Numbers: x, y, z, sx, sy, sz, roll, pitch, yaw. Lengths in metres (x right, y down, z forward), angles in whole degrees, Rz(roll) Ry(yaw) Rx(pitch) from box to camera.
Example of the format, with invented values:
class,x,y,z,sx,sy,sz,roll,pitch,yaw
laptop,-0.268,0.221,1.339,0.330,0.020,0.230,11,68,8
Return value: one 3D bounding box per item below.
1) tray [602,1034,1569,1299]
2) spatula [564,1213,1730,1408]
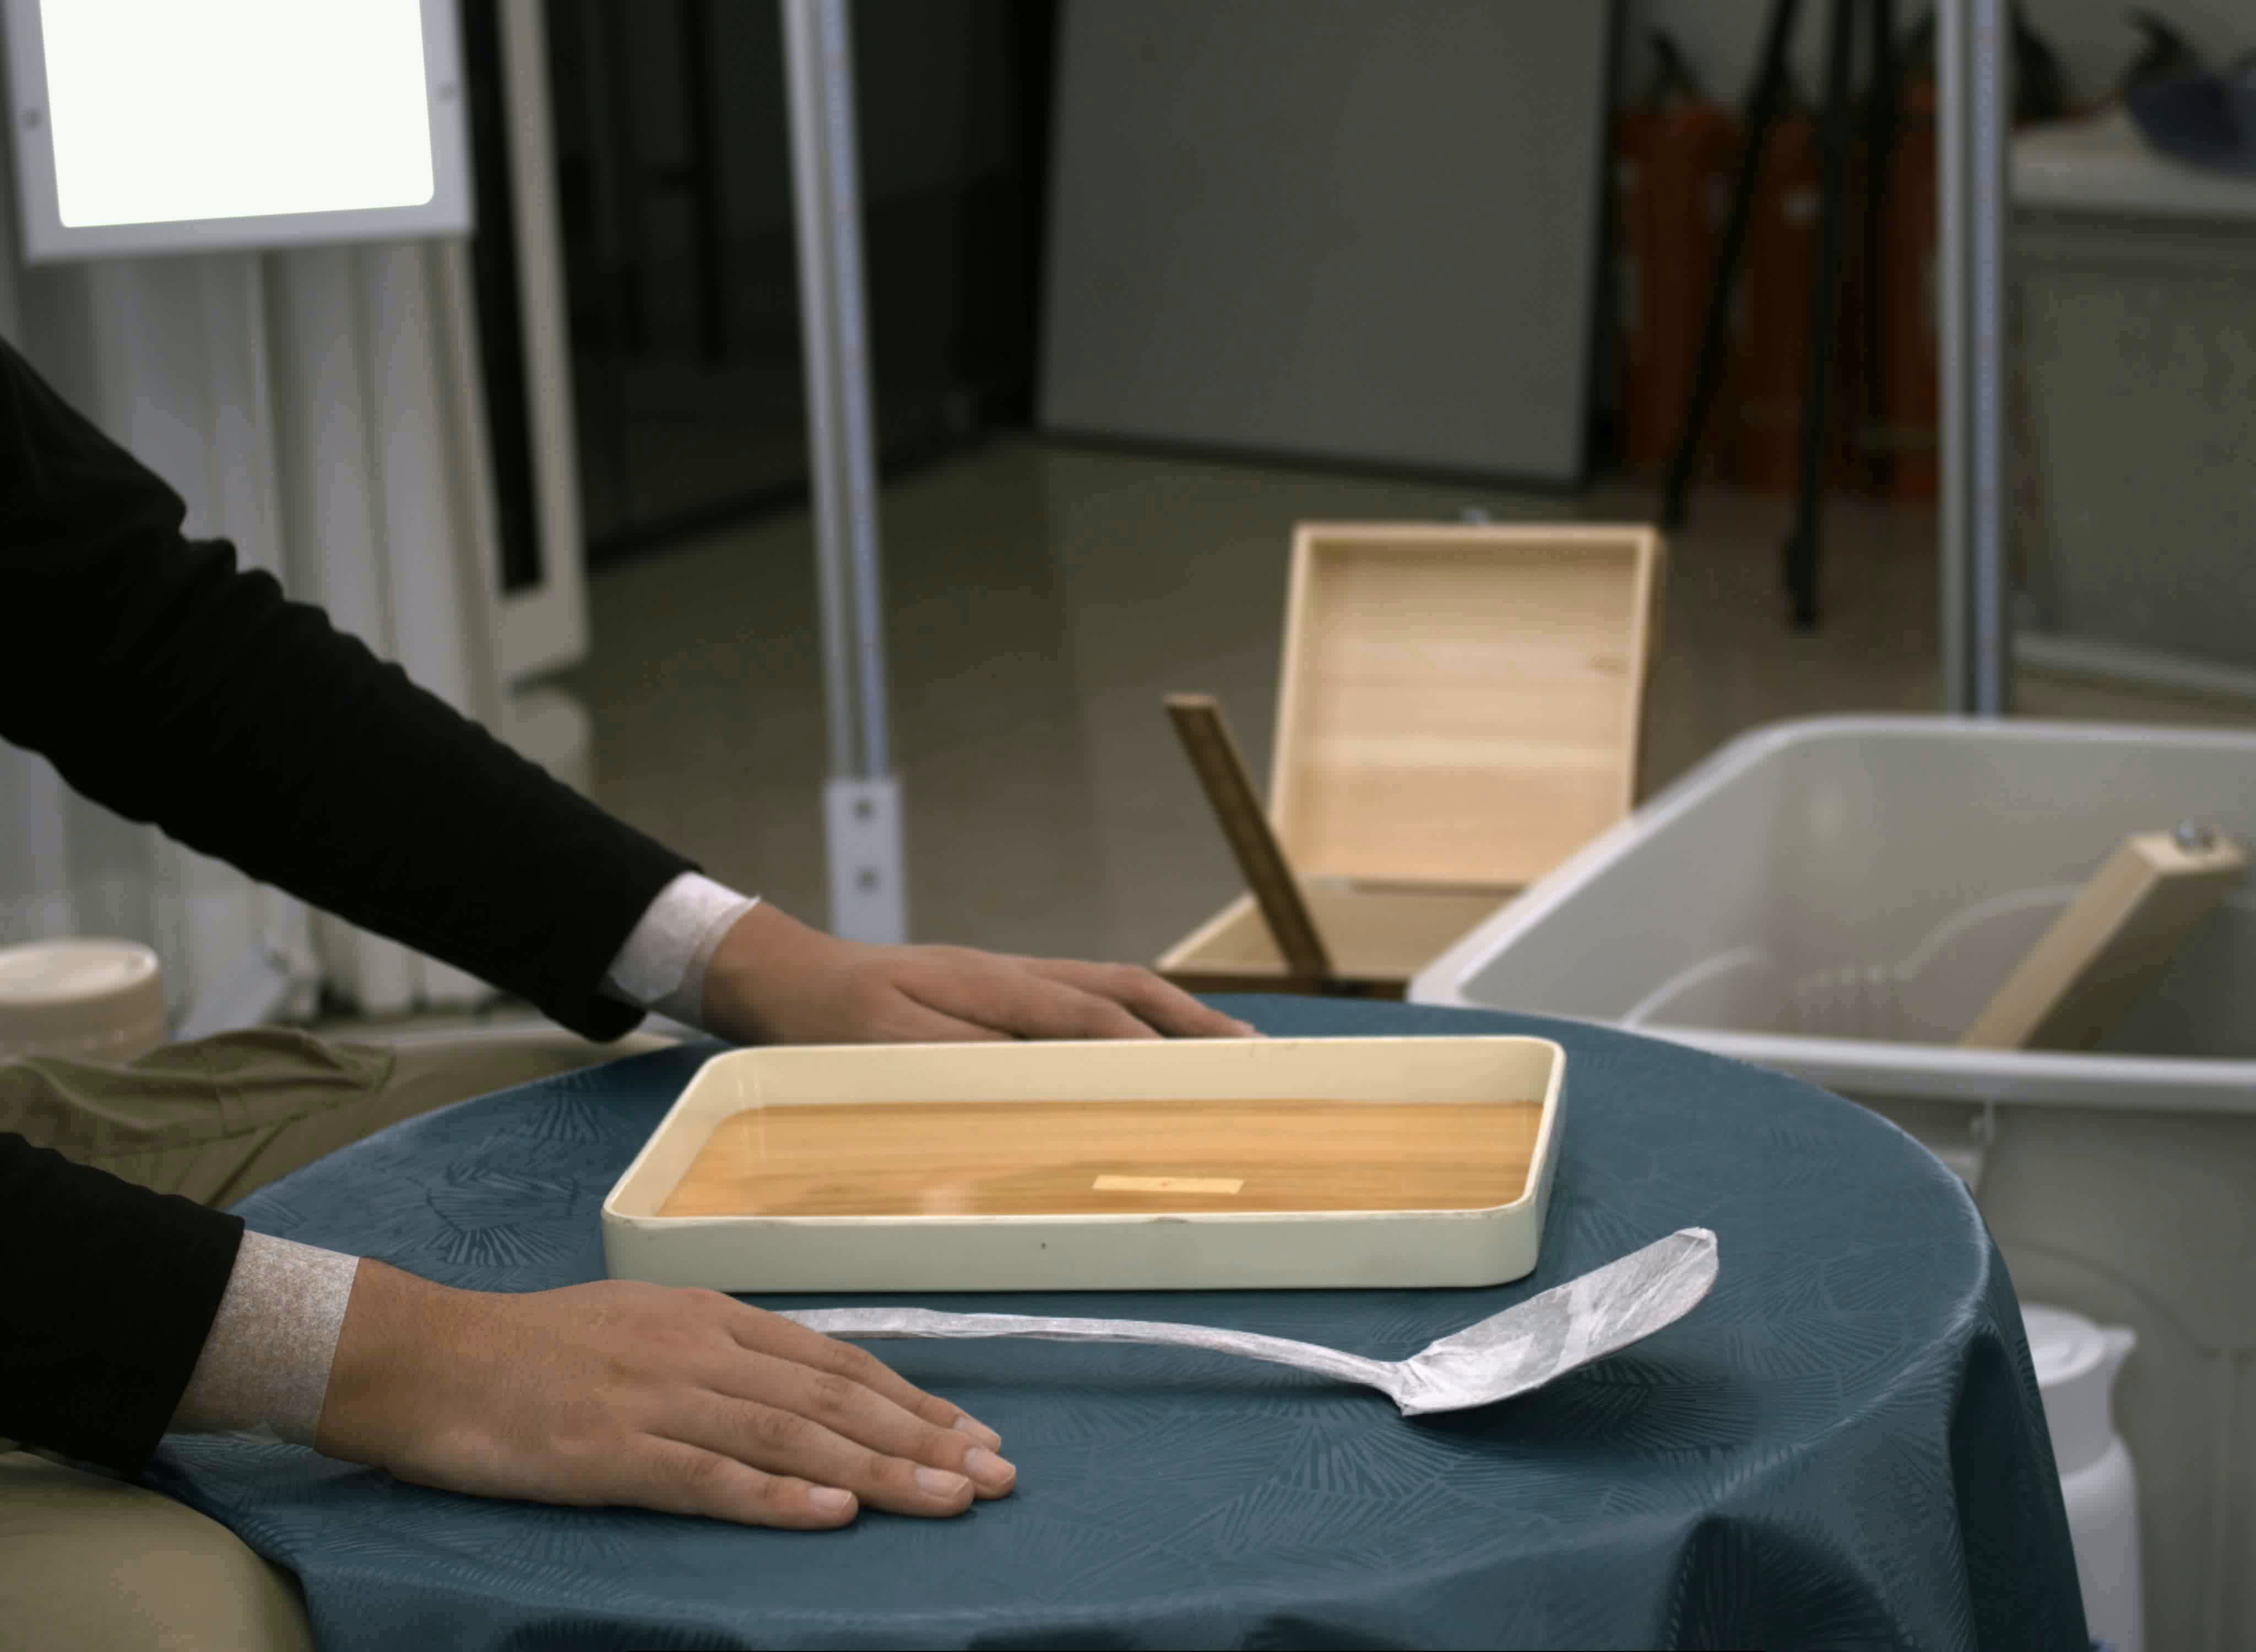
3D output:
class,x,y,z,sx,sy,sz,roll,pitch,yaw
tray,-0.009,0.110,1.760,0.298,0.028,0.191,-2,14,11
spatula,-0.002,0.145,1.591,0.363,0.045,0.098,0,15,16
